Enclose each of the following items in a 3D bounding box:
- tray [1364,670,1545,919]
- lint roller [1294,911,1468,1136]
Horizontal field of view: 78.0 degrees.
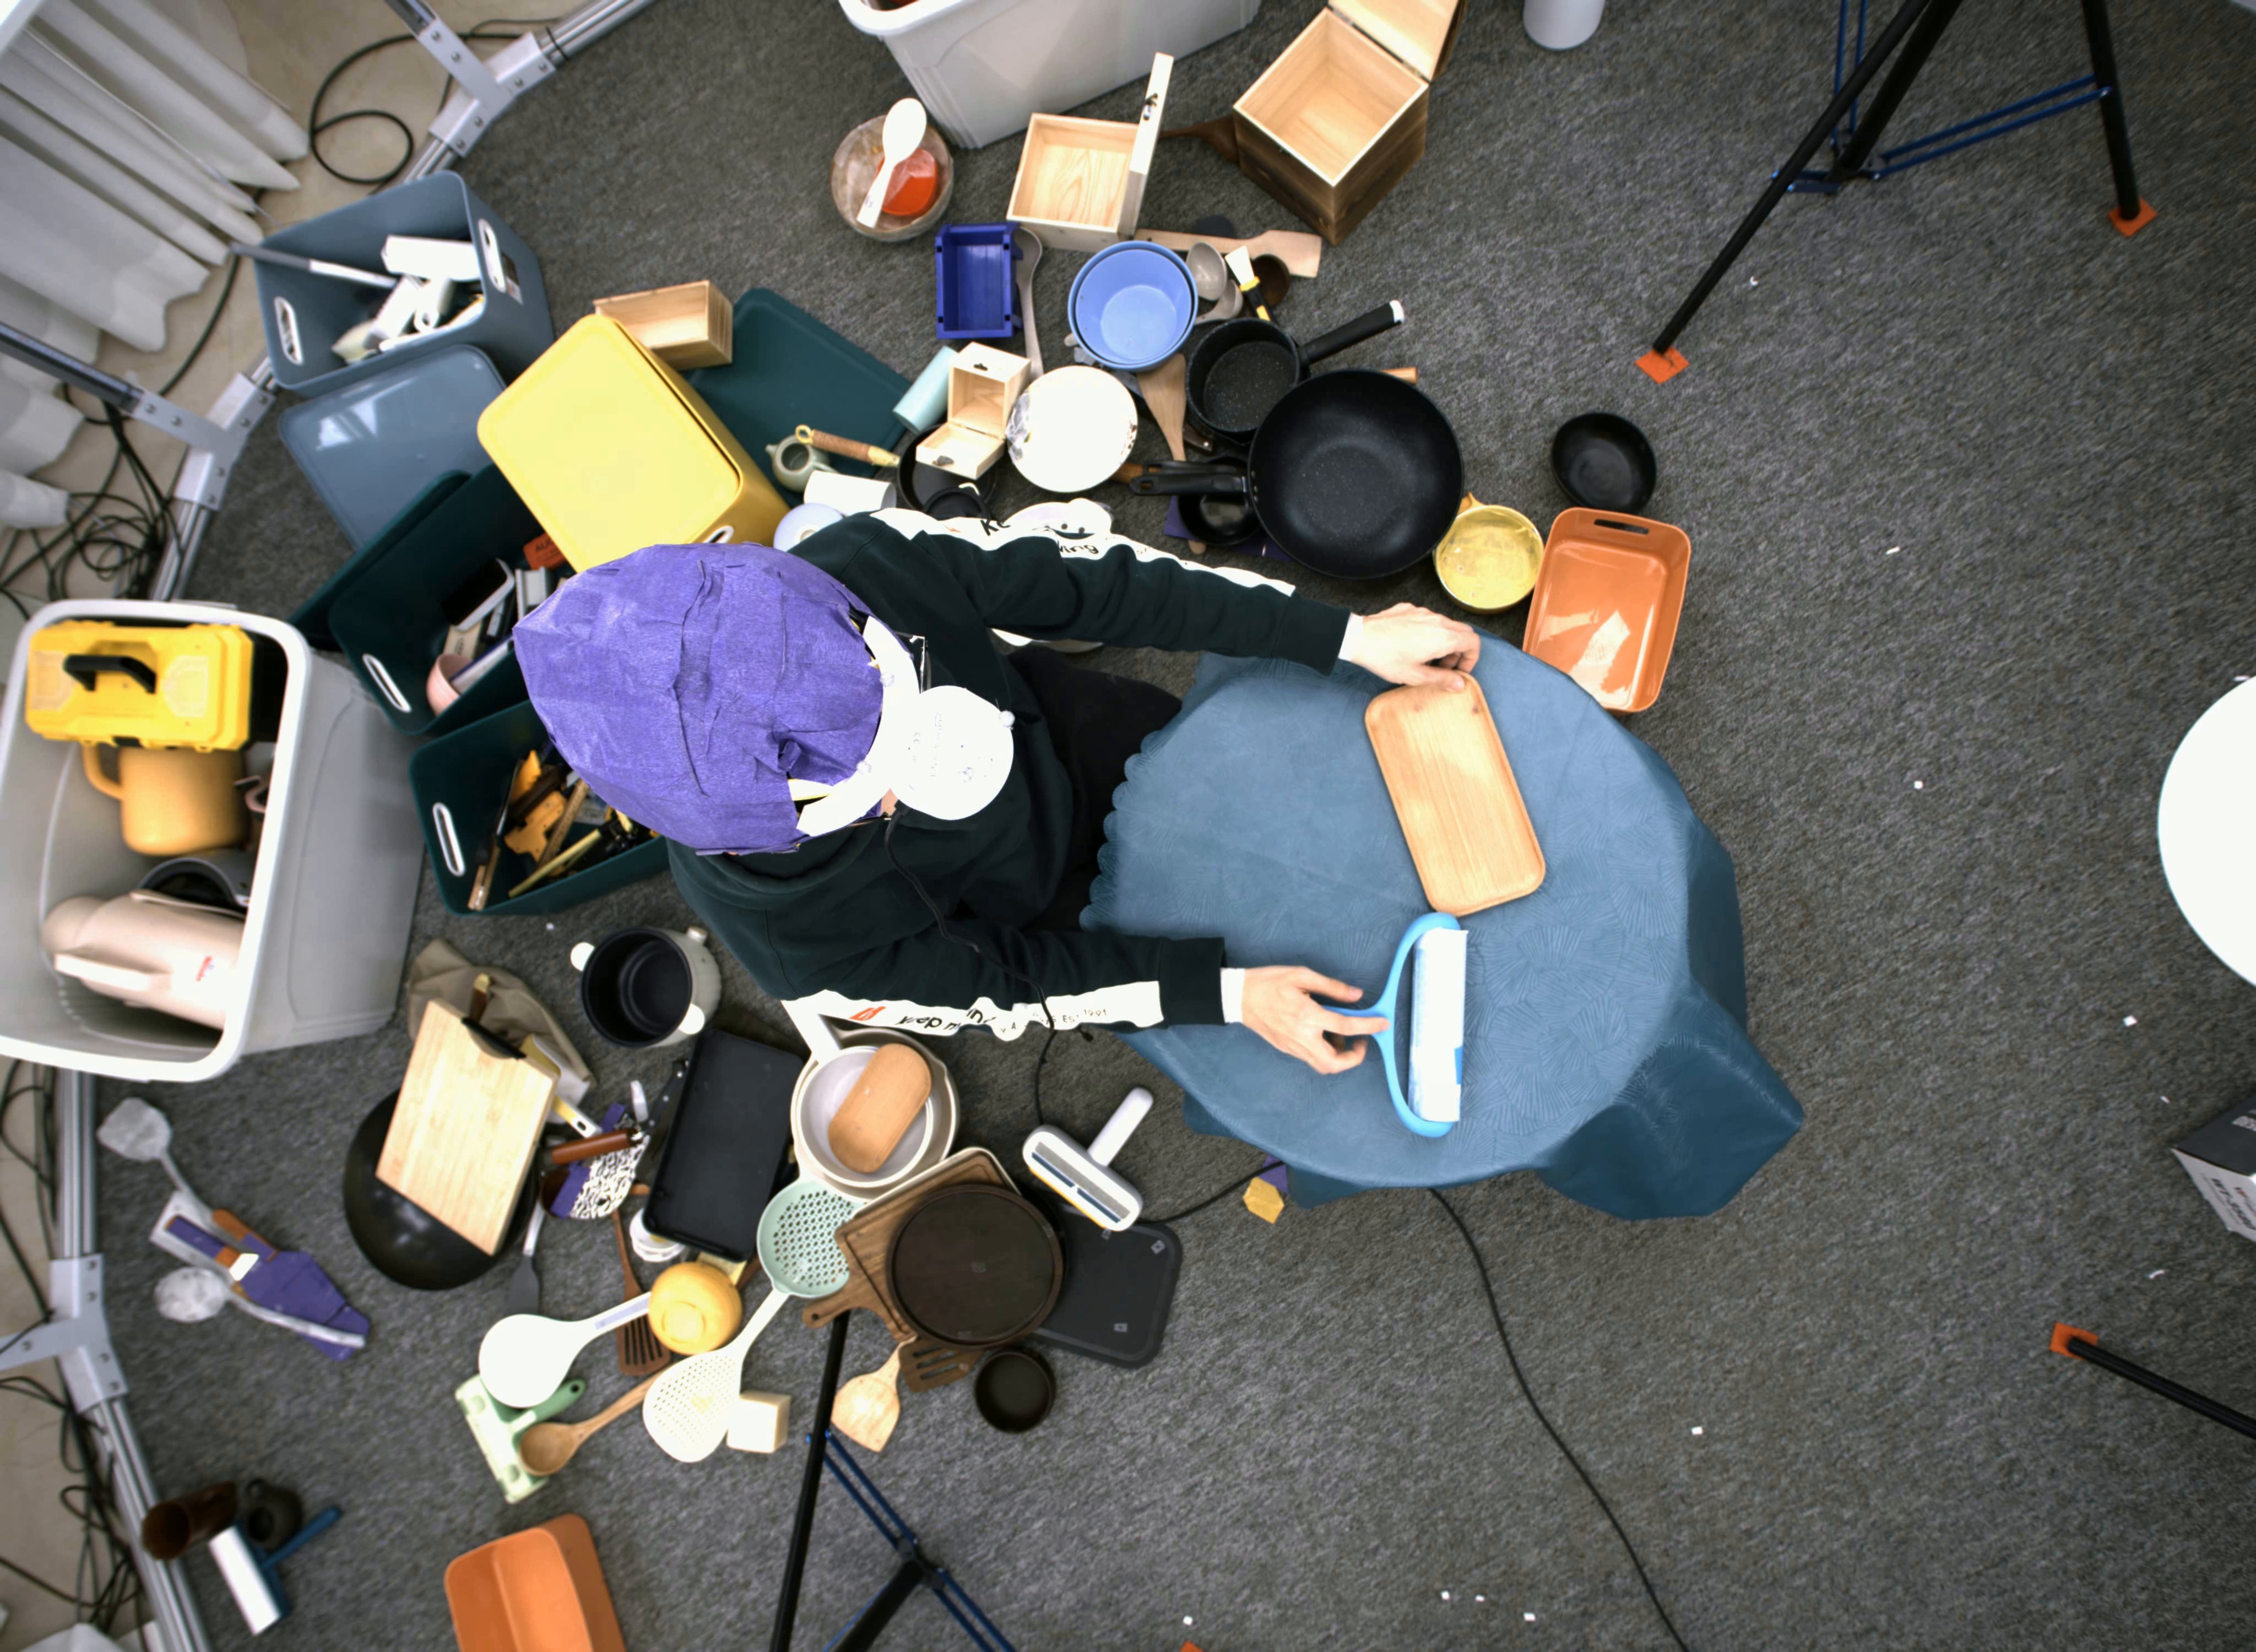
[{"bbox_3d":[0.341,-0.036,1.439,0.131,0.023,0.249,-18,85,11],"label":"tray"},{"bbox_3d":[0.260,0.200,1.422,0.181,0.068,0.228,-1,88,10],"label":"lint roller"}]
